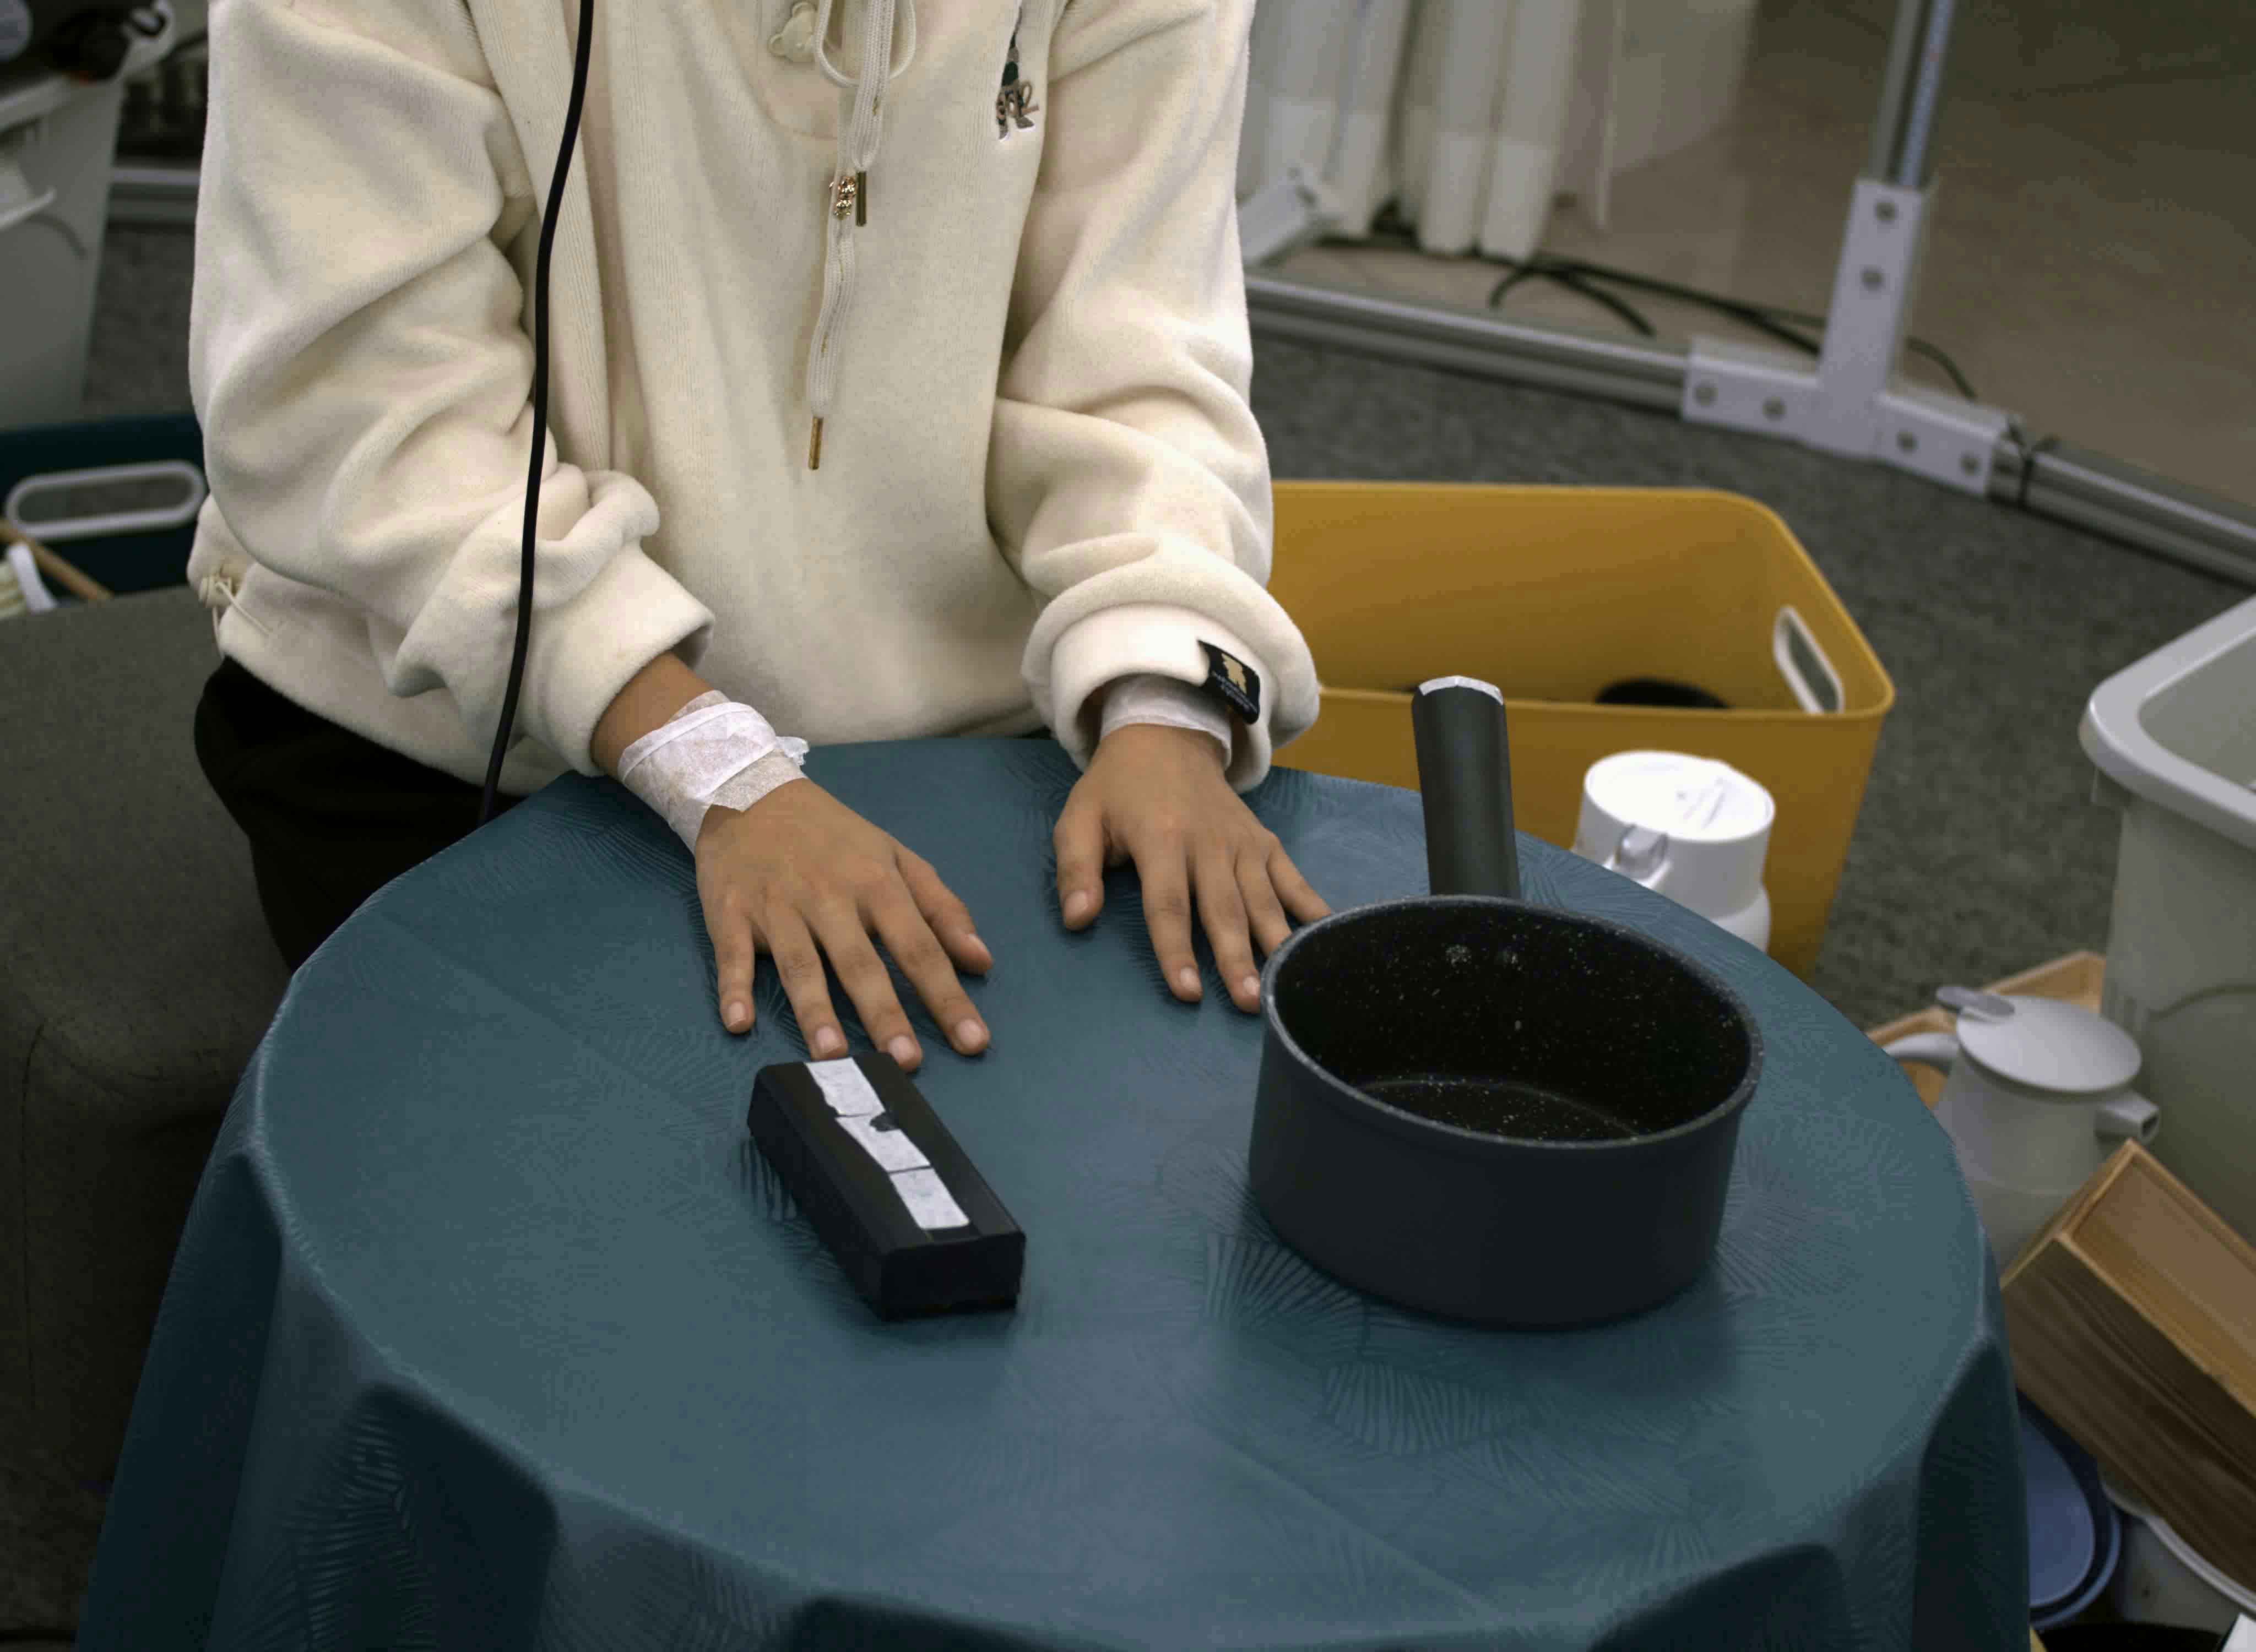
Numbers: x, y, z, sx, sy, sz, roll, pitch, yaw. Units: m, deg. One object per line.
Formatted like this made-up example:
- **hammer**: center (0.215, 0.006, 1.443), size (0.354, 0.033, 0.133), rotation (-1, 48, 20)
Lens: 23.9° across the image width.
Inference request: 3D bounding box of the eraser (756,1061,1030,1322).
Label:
- **eraser**: center (-0.079, 0.120, 1.762), size (0.053, 0.030, 0.126), rotation (-5, 28, -23)

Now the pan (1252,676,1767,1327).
- **pan**: center (0.127, 0.057, 1.868), size (0.171, 0.086, 0.330), rotation (6, 28, -1)
